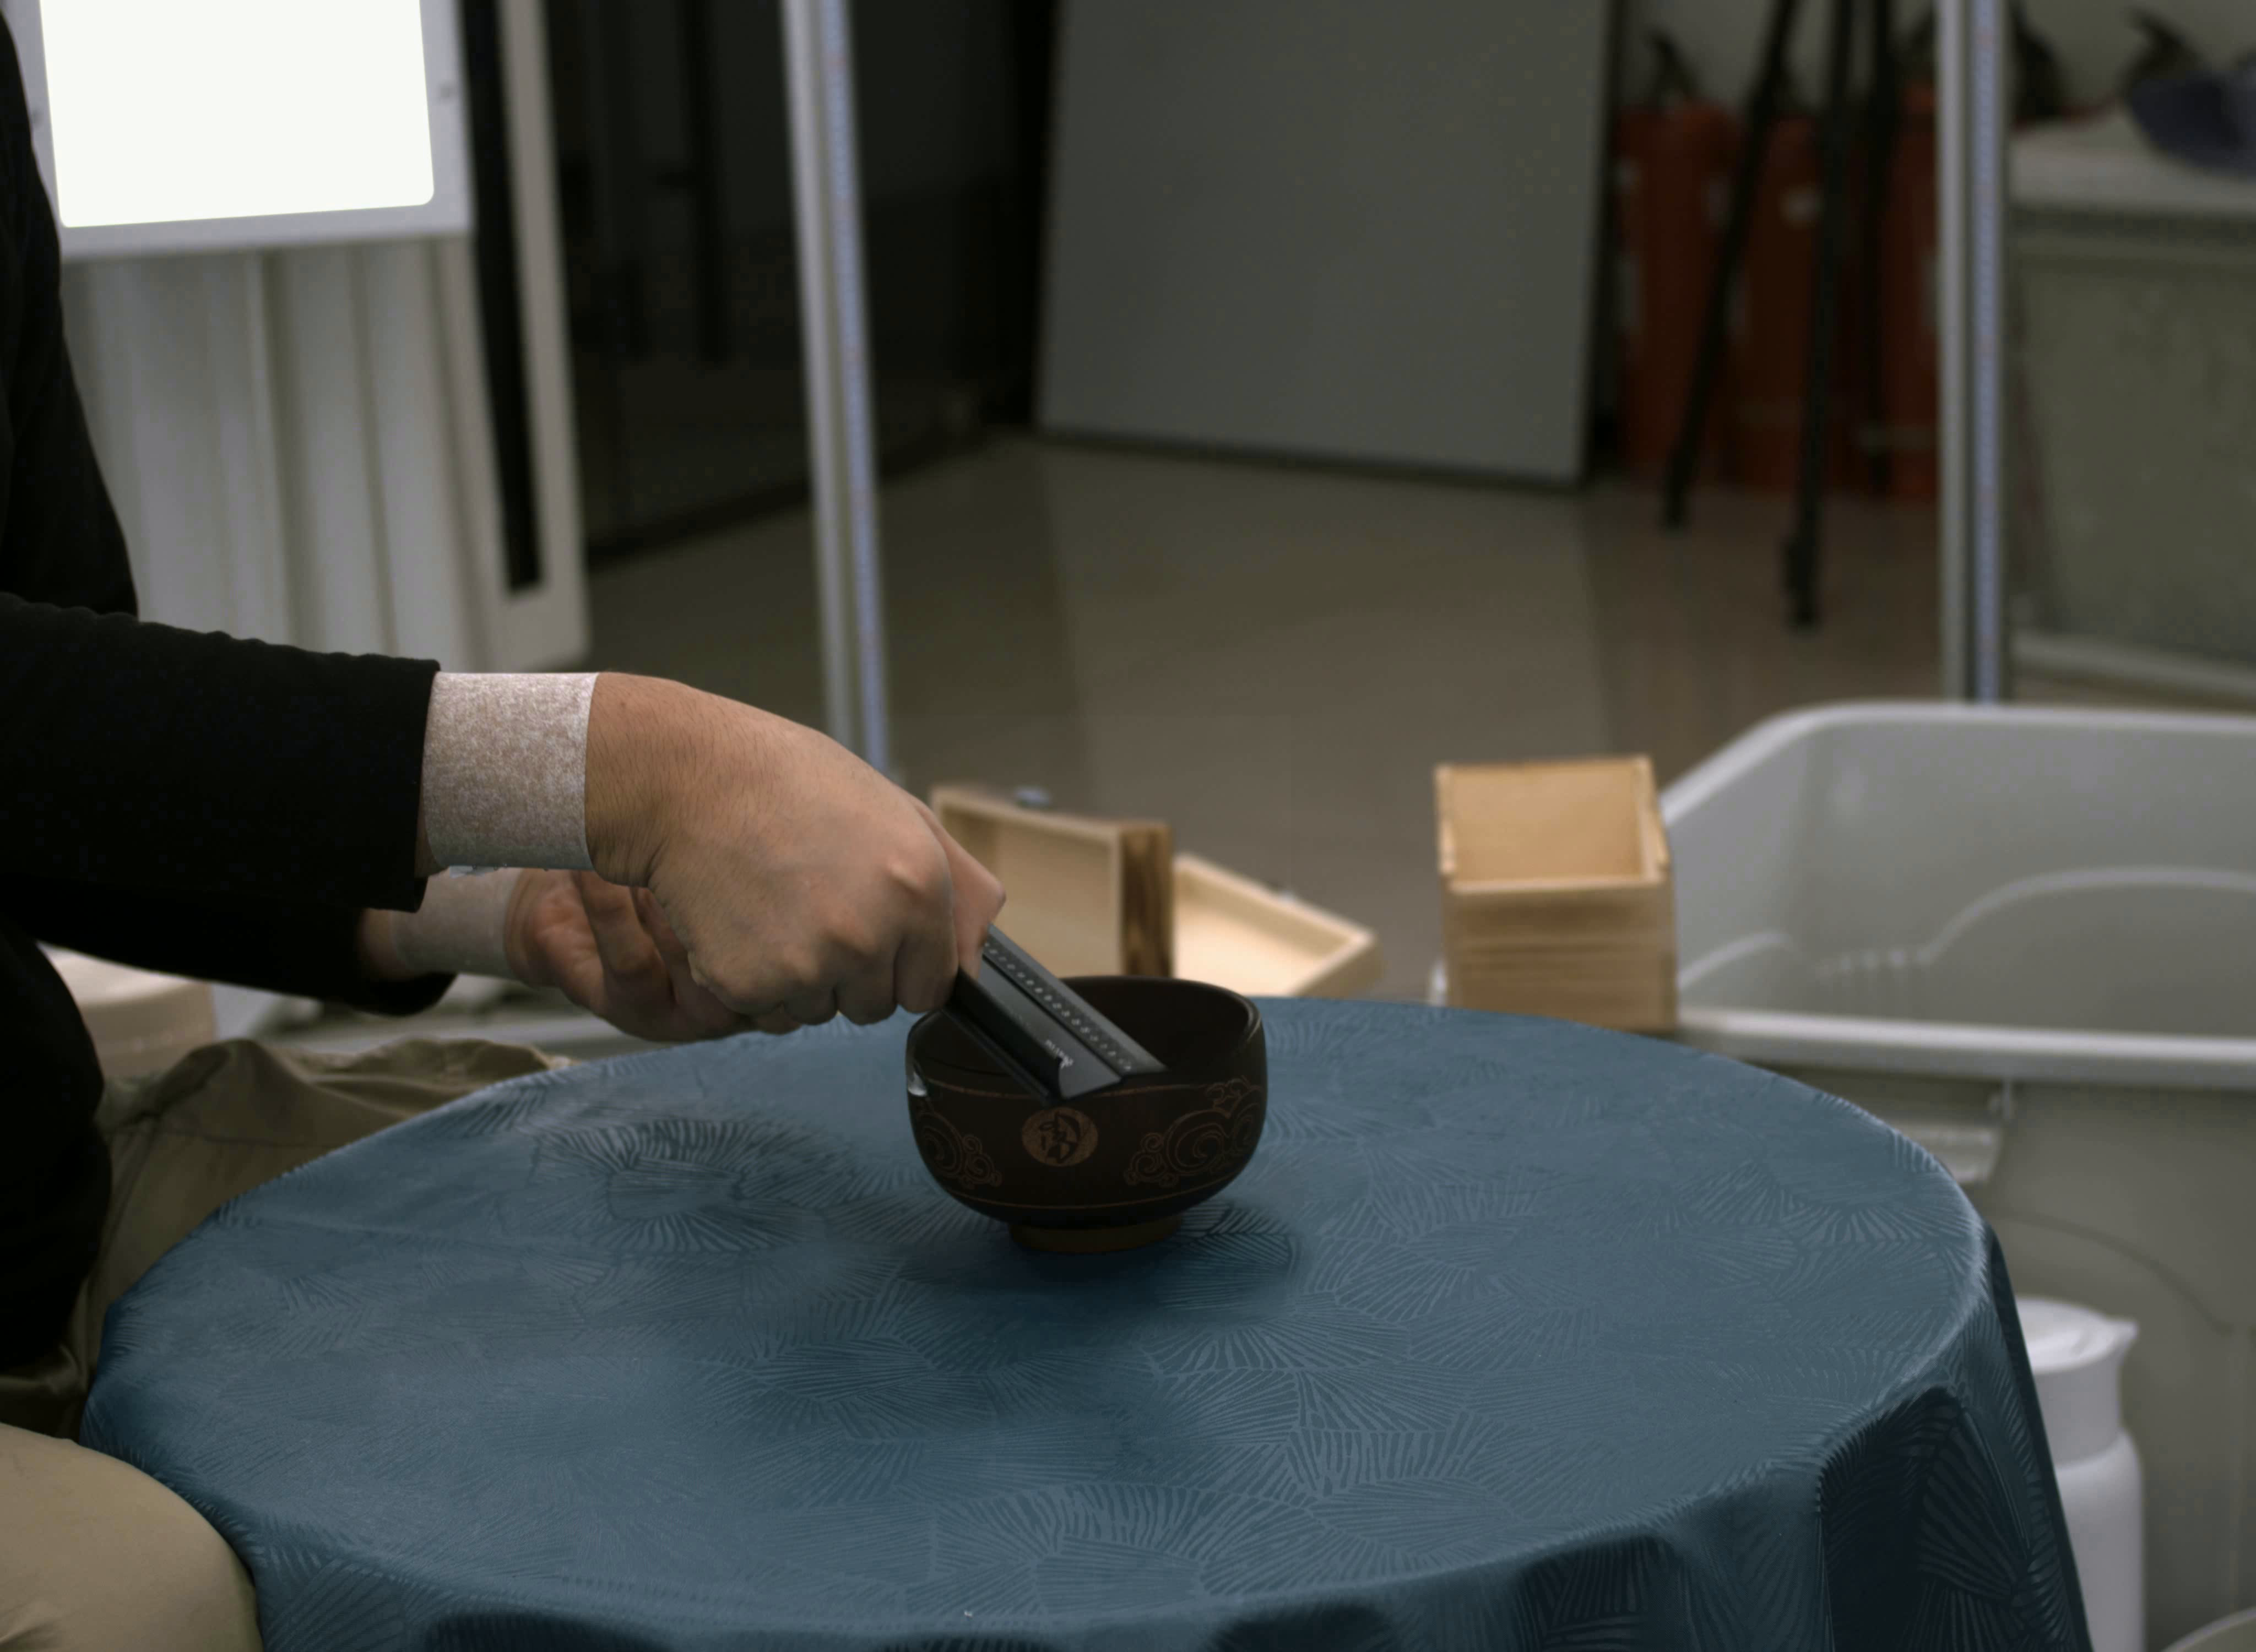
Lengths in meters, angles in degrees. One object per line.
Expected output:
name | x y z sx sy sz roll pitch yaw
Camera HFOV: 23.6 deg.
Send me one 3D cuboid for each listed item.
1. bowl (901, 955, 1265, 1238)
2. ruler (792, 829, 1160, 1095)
bowl | -0.015 0.090 1.728 0.116 0.070 0.118 2 14 -1
ruler | -0.053 0.035 1.704 0.038 0.017 0.315 -15 15 -14
